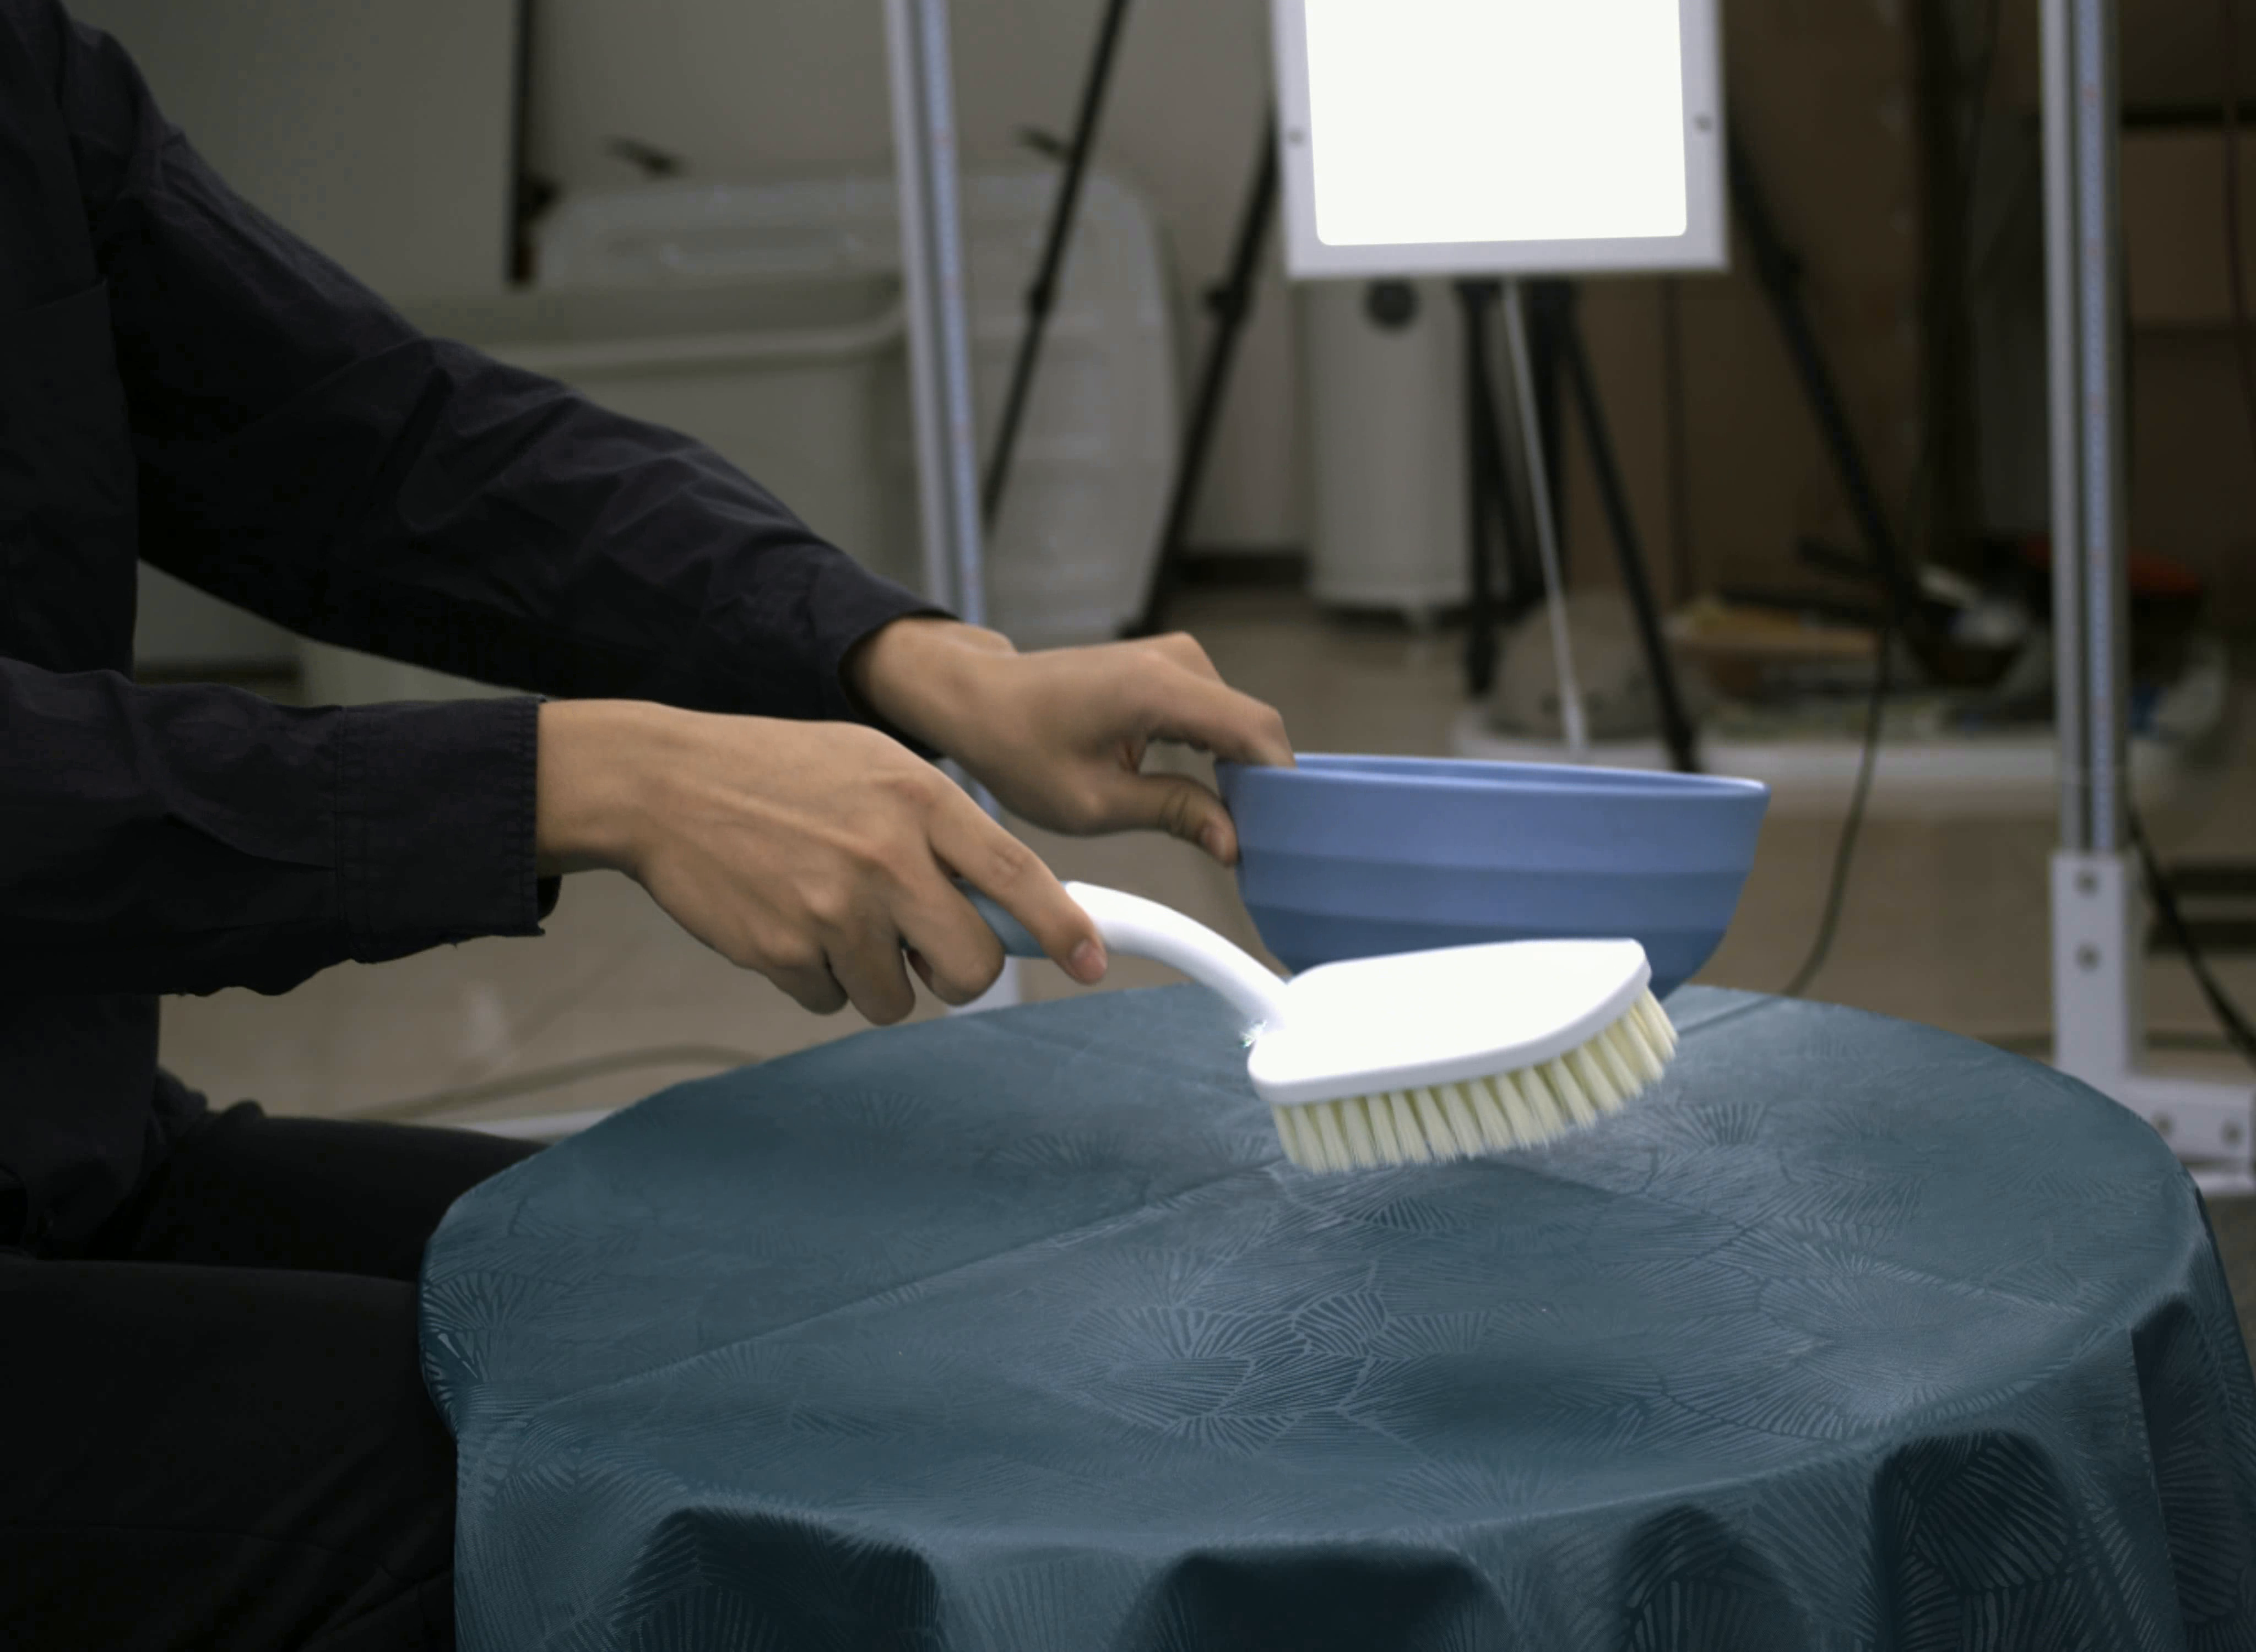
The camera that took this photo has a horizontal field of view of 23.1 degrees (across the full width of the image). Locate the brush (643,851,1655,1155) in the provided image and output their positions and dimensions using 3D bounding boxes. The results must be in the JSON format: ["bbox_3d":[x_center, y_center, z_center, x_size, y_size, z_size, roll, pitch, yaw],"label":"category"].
[{"bbox_3d":[0.005,0.058,1.727,0.329,0.085,0.082,2,-5,19],"label":"brush"}]

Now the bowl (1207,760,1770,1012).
[{"bbox_3d":[0.125,0.027,1.916,0.196,0.096,0.196,1,3,-1],"label":"bowl"}]
